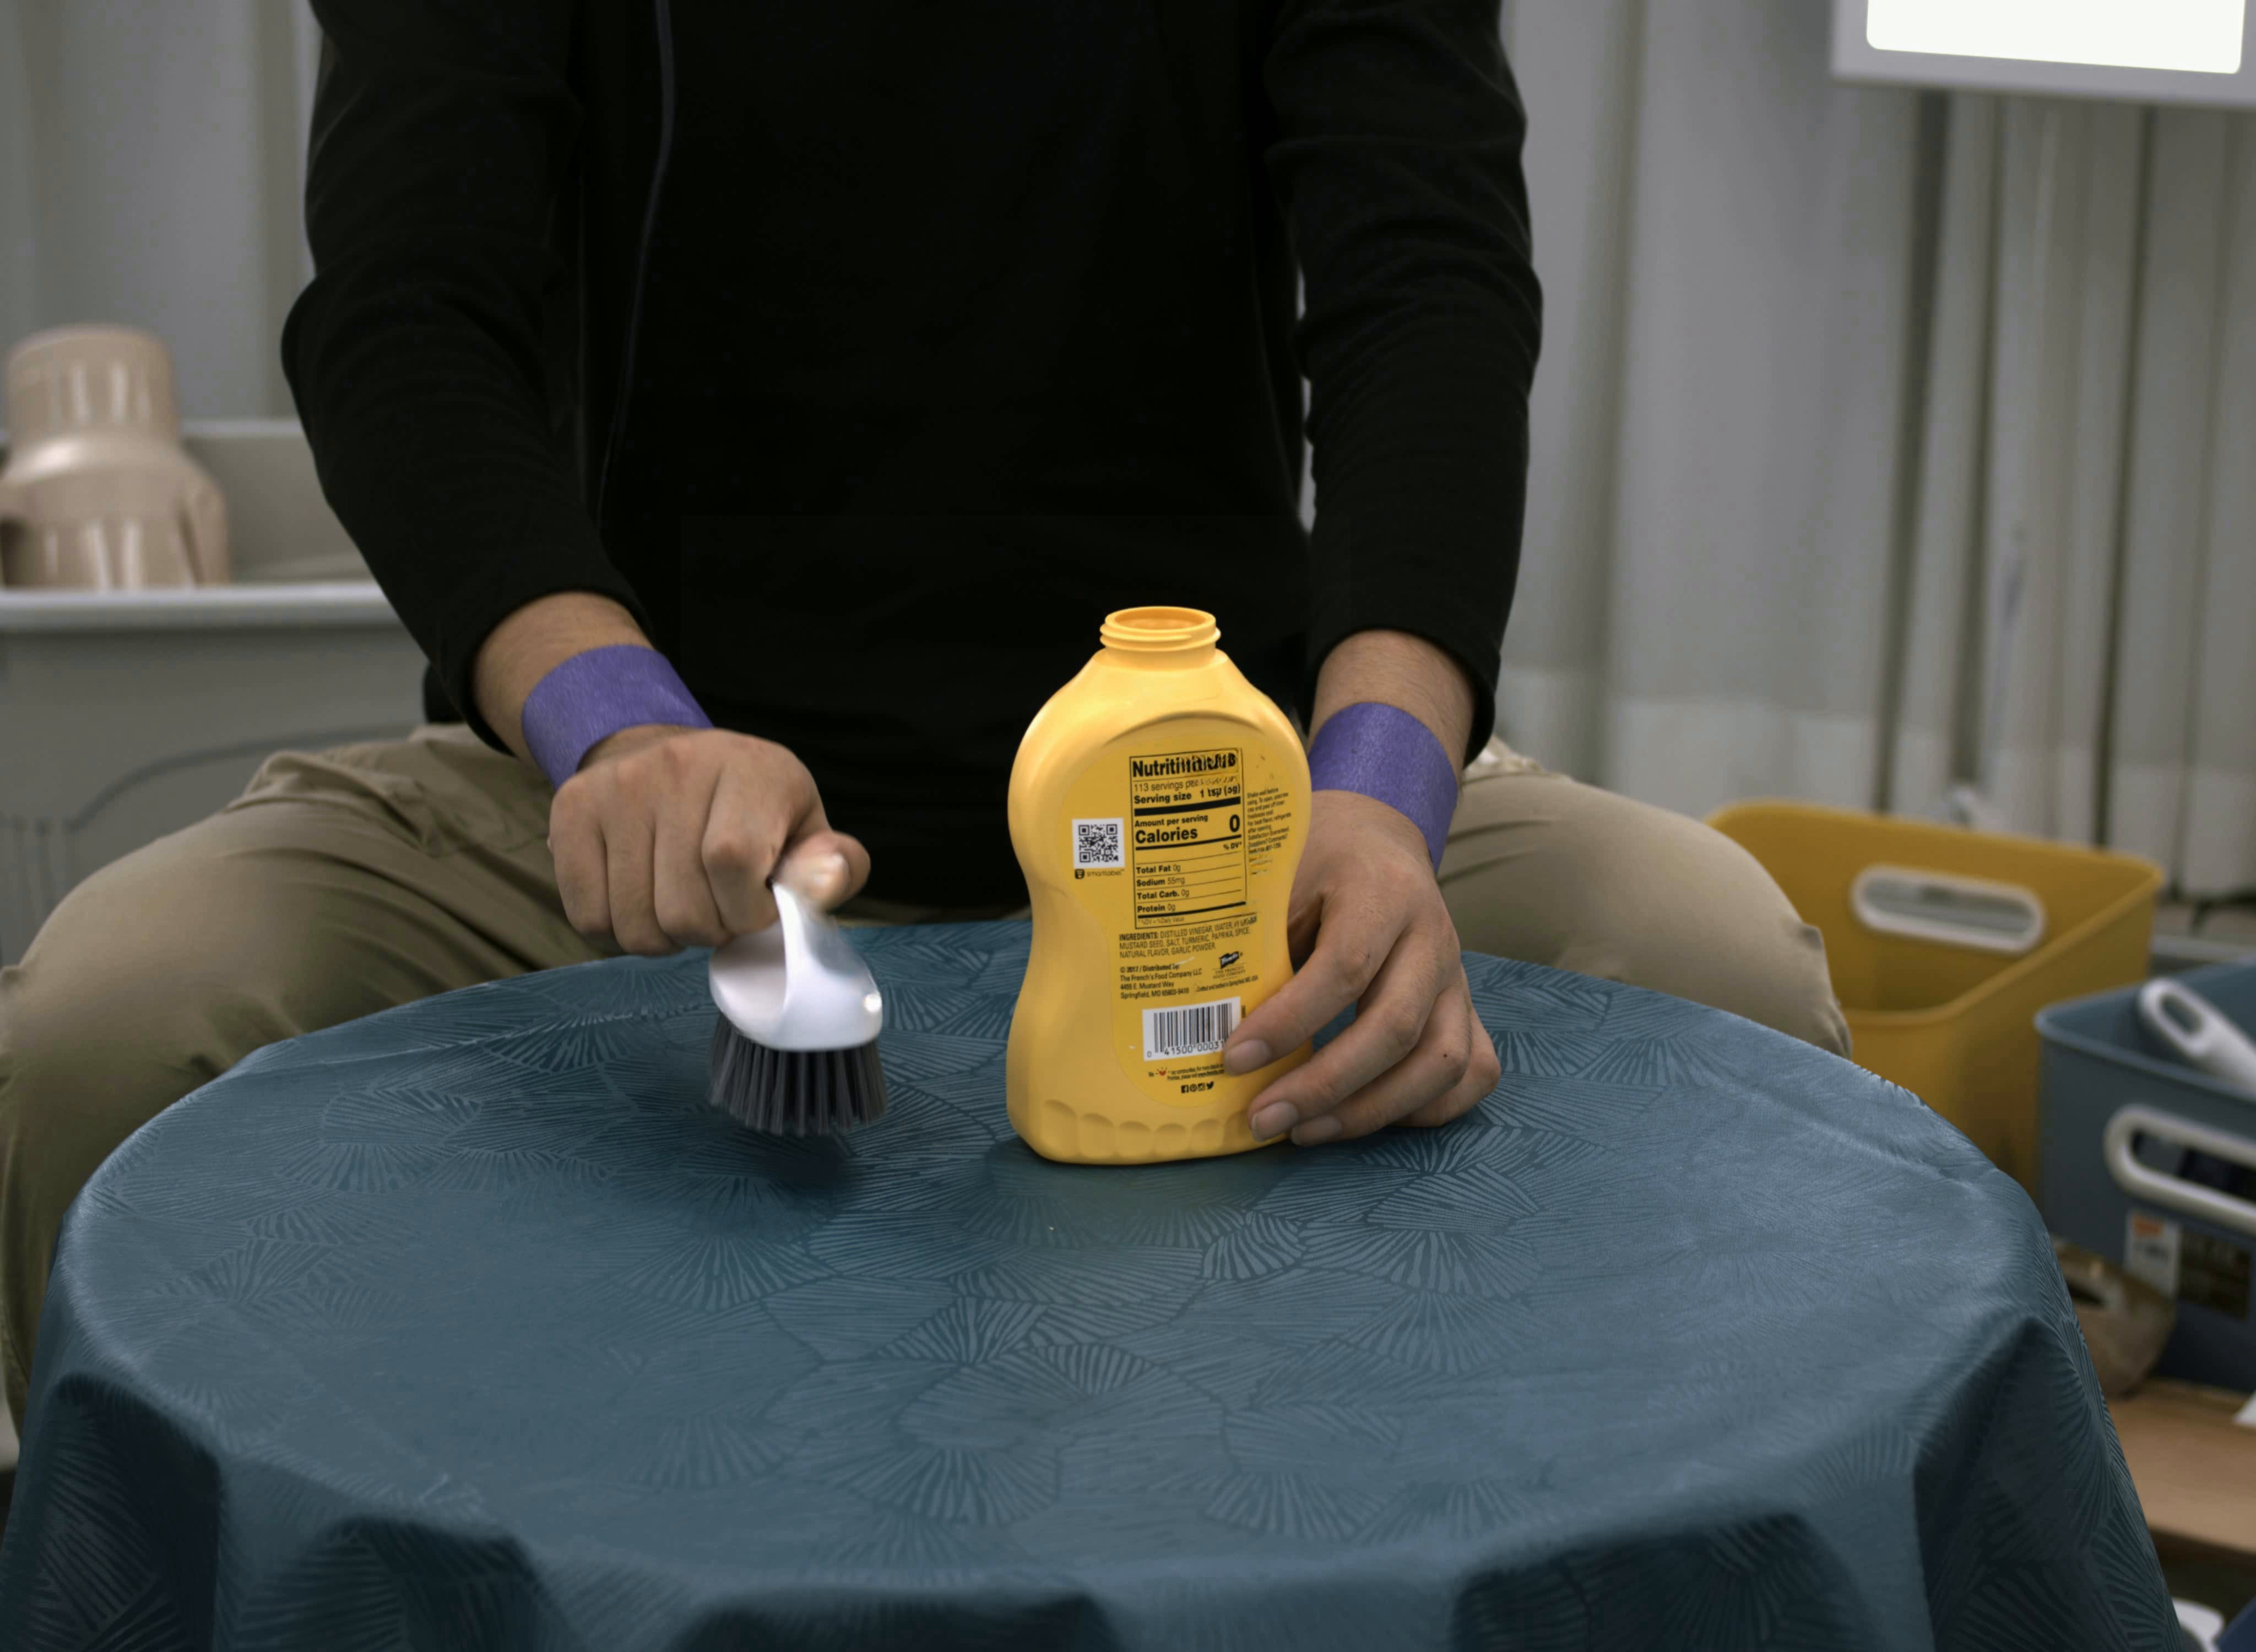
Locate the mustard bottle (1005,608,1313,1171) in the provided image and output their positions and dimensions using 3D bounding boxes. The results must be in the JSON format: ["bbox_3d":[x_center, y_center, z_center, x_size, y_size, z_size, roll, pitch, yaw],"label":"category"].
[{"bbox_3d":[0.009,0.019,1.644,0.098,0.173,0.058,-7,15,-20],"label":"mustard bottle"}]

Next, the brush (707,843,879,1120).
[{"bbox_3d":[-0.105,0.044,1.636,0.050,0.073,0.098,-3,16,-11],"label":"brush"}]
